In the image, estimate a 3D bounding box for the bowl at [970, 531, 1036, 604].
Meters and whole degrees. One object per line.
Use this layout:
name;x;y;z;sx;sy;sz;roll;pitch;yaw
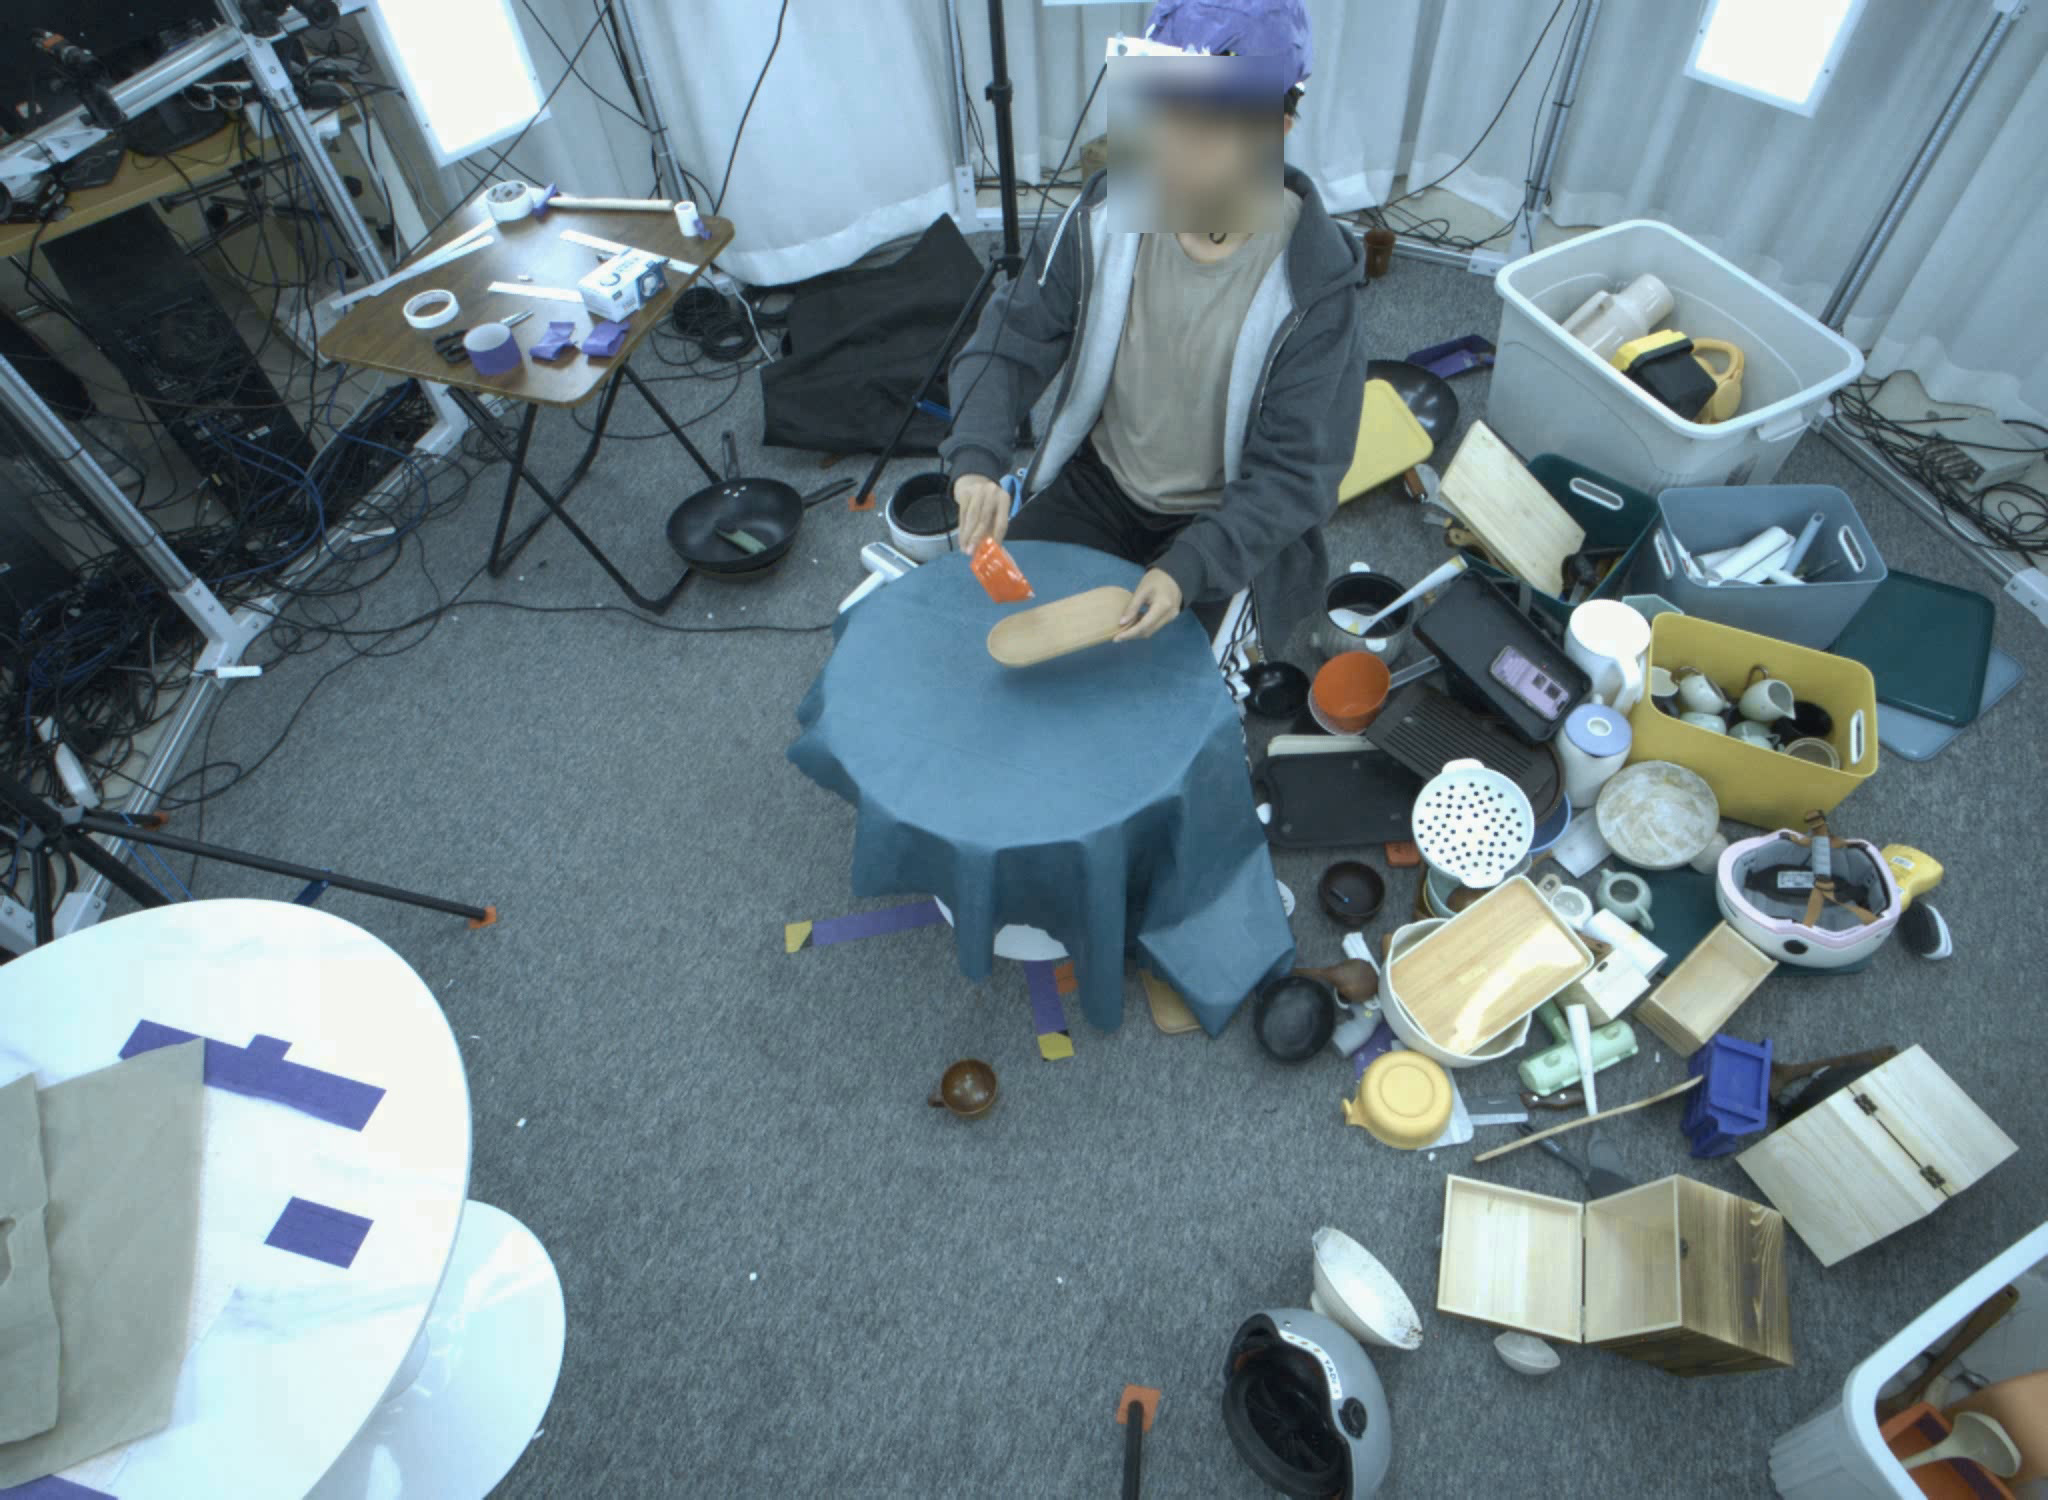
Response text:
bowl;-0.037;-0.249;1.723;0.051;0.121;0.117;-36;57;9

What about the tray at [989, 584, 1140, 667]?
tray;0.060;-0.183;1.819;0.231;0.020;0.100;-17;53;0
